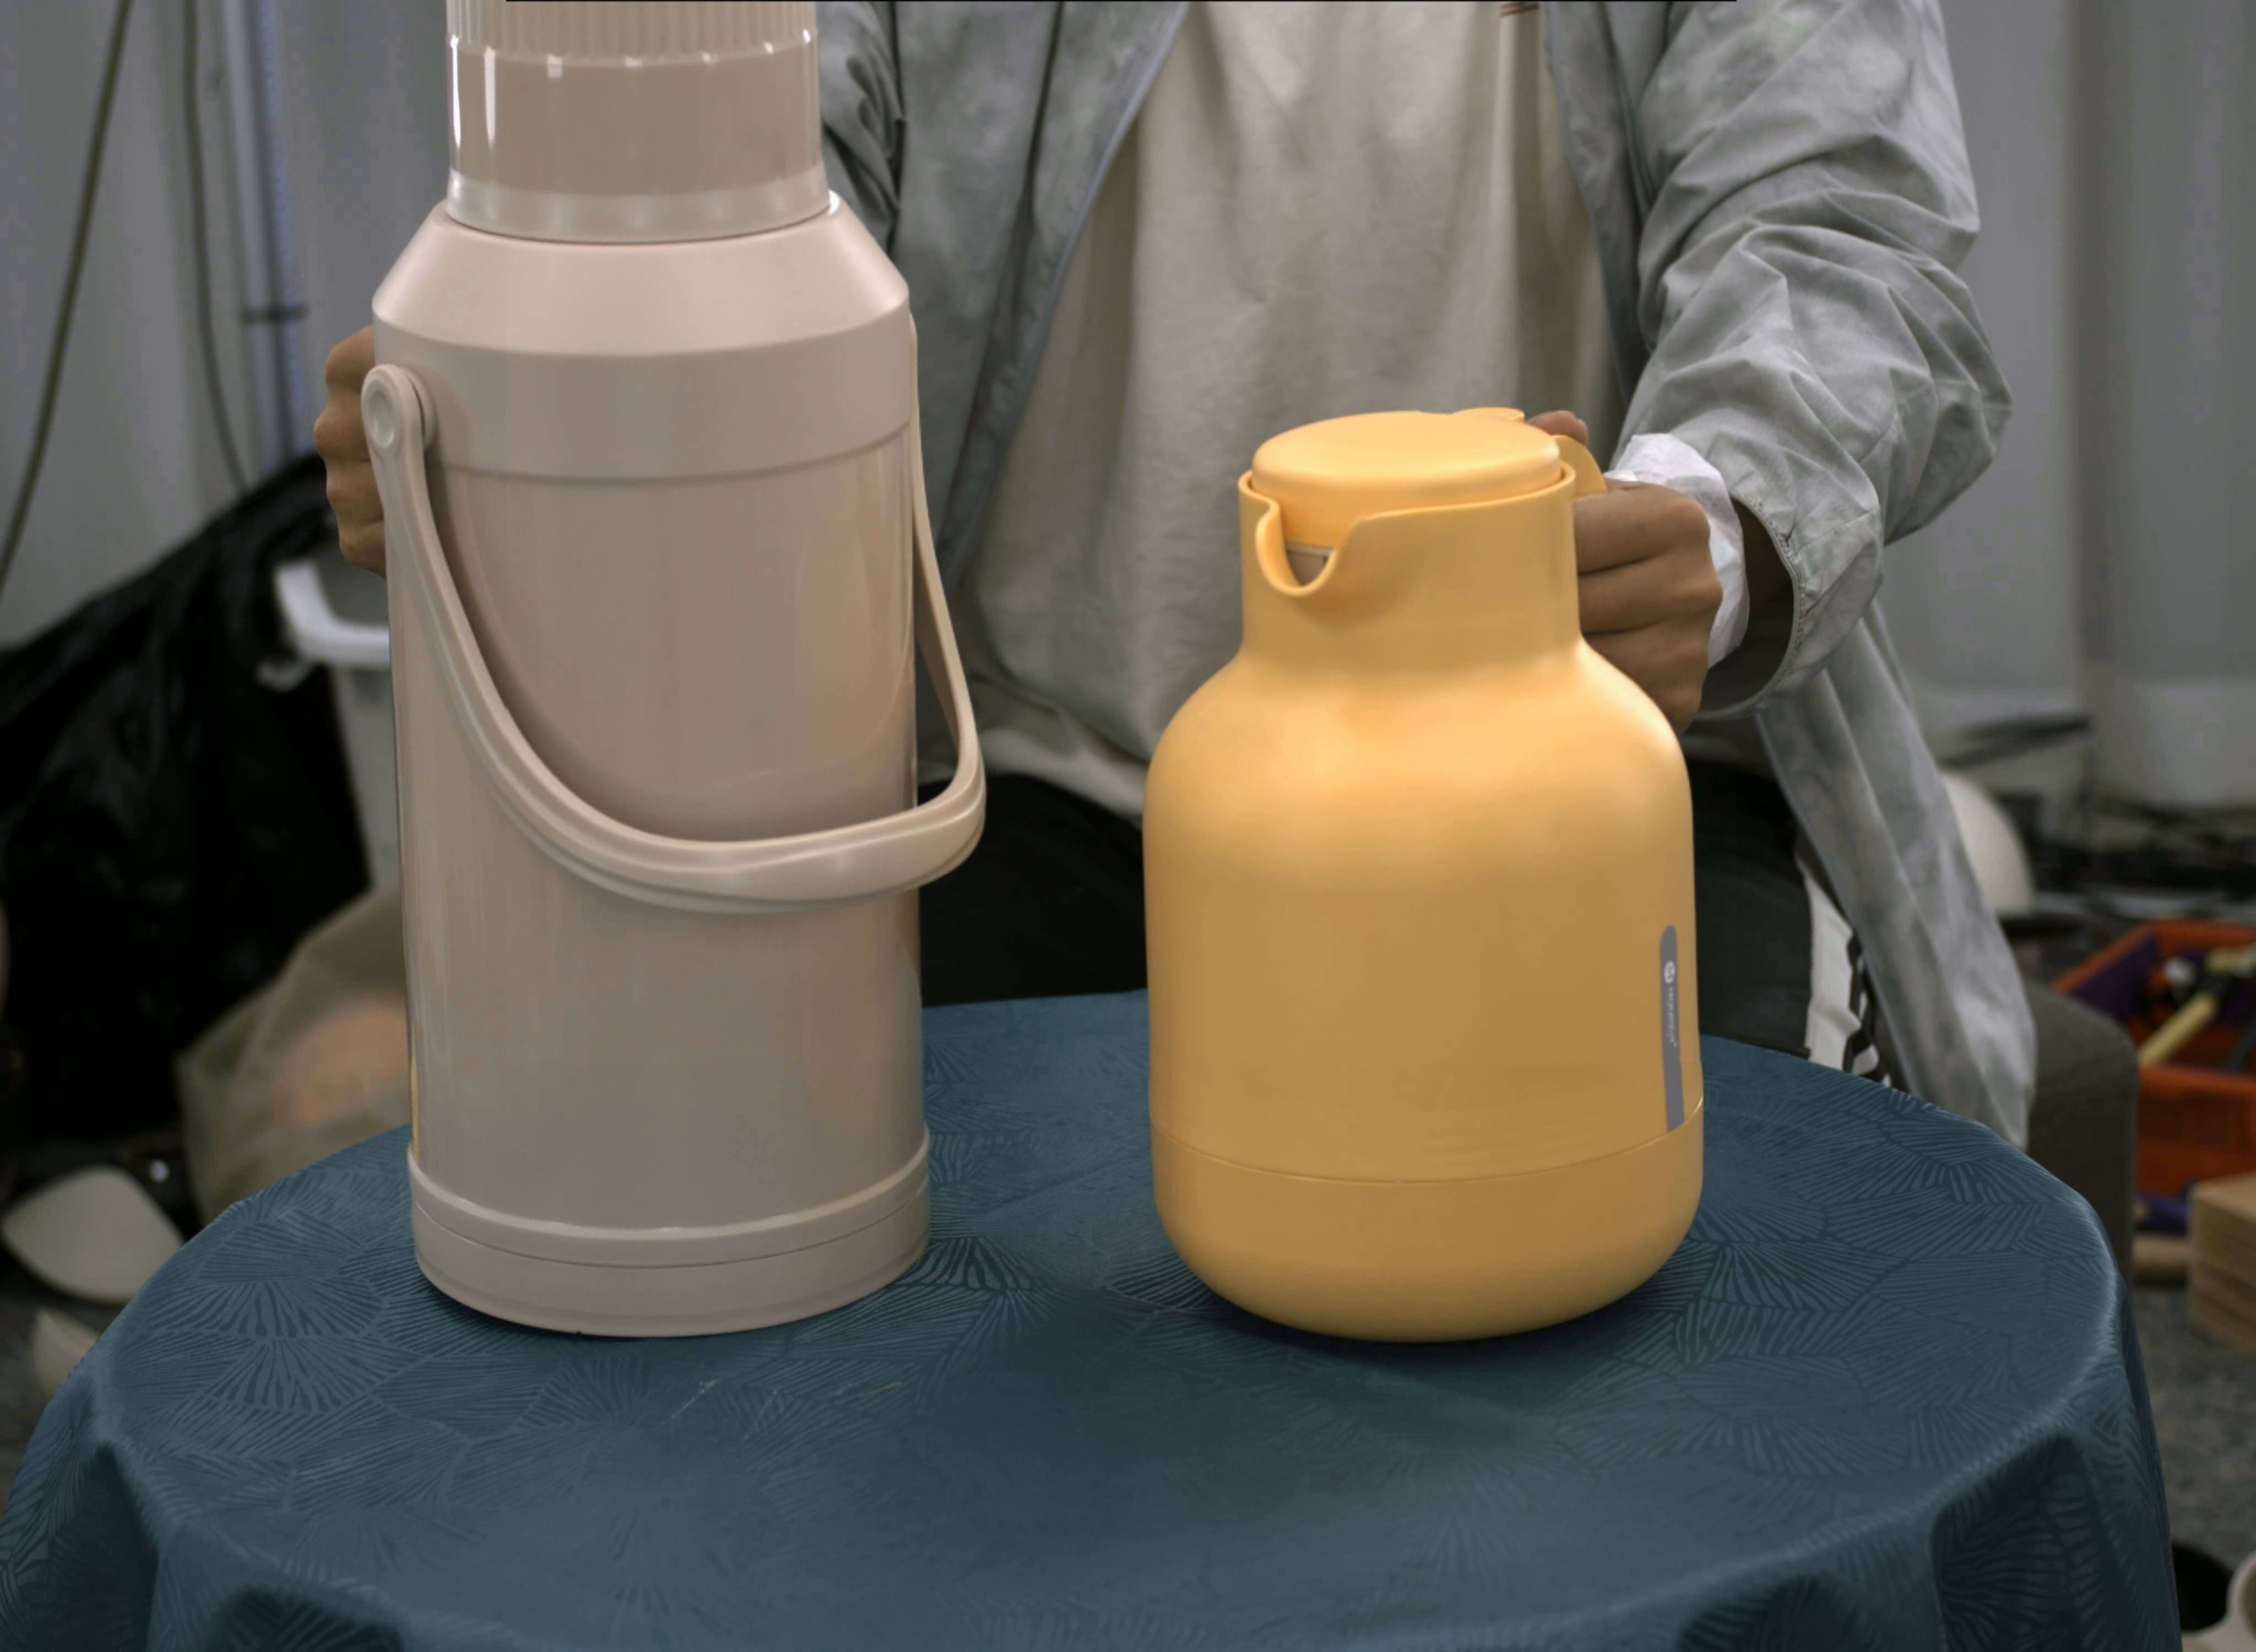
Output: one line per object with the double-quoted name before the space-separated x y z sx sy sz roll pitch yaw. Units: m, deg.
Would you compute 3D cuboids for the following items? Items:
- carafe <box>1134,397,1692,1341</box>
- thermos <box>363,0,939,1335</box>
"carafe" 0.093 0.005 1.611 0.164 0.259 0.202 8 19 29
"thermos" -0.148 -0.066 1.639 0.175 0.404 0.209 -13 21 -34
